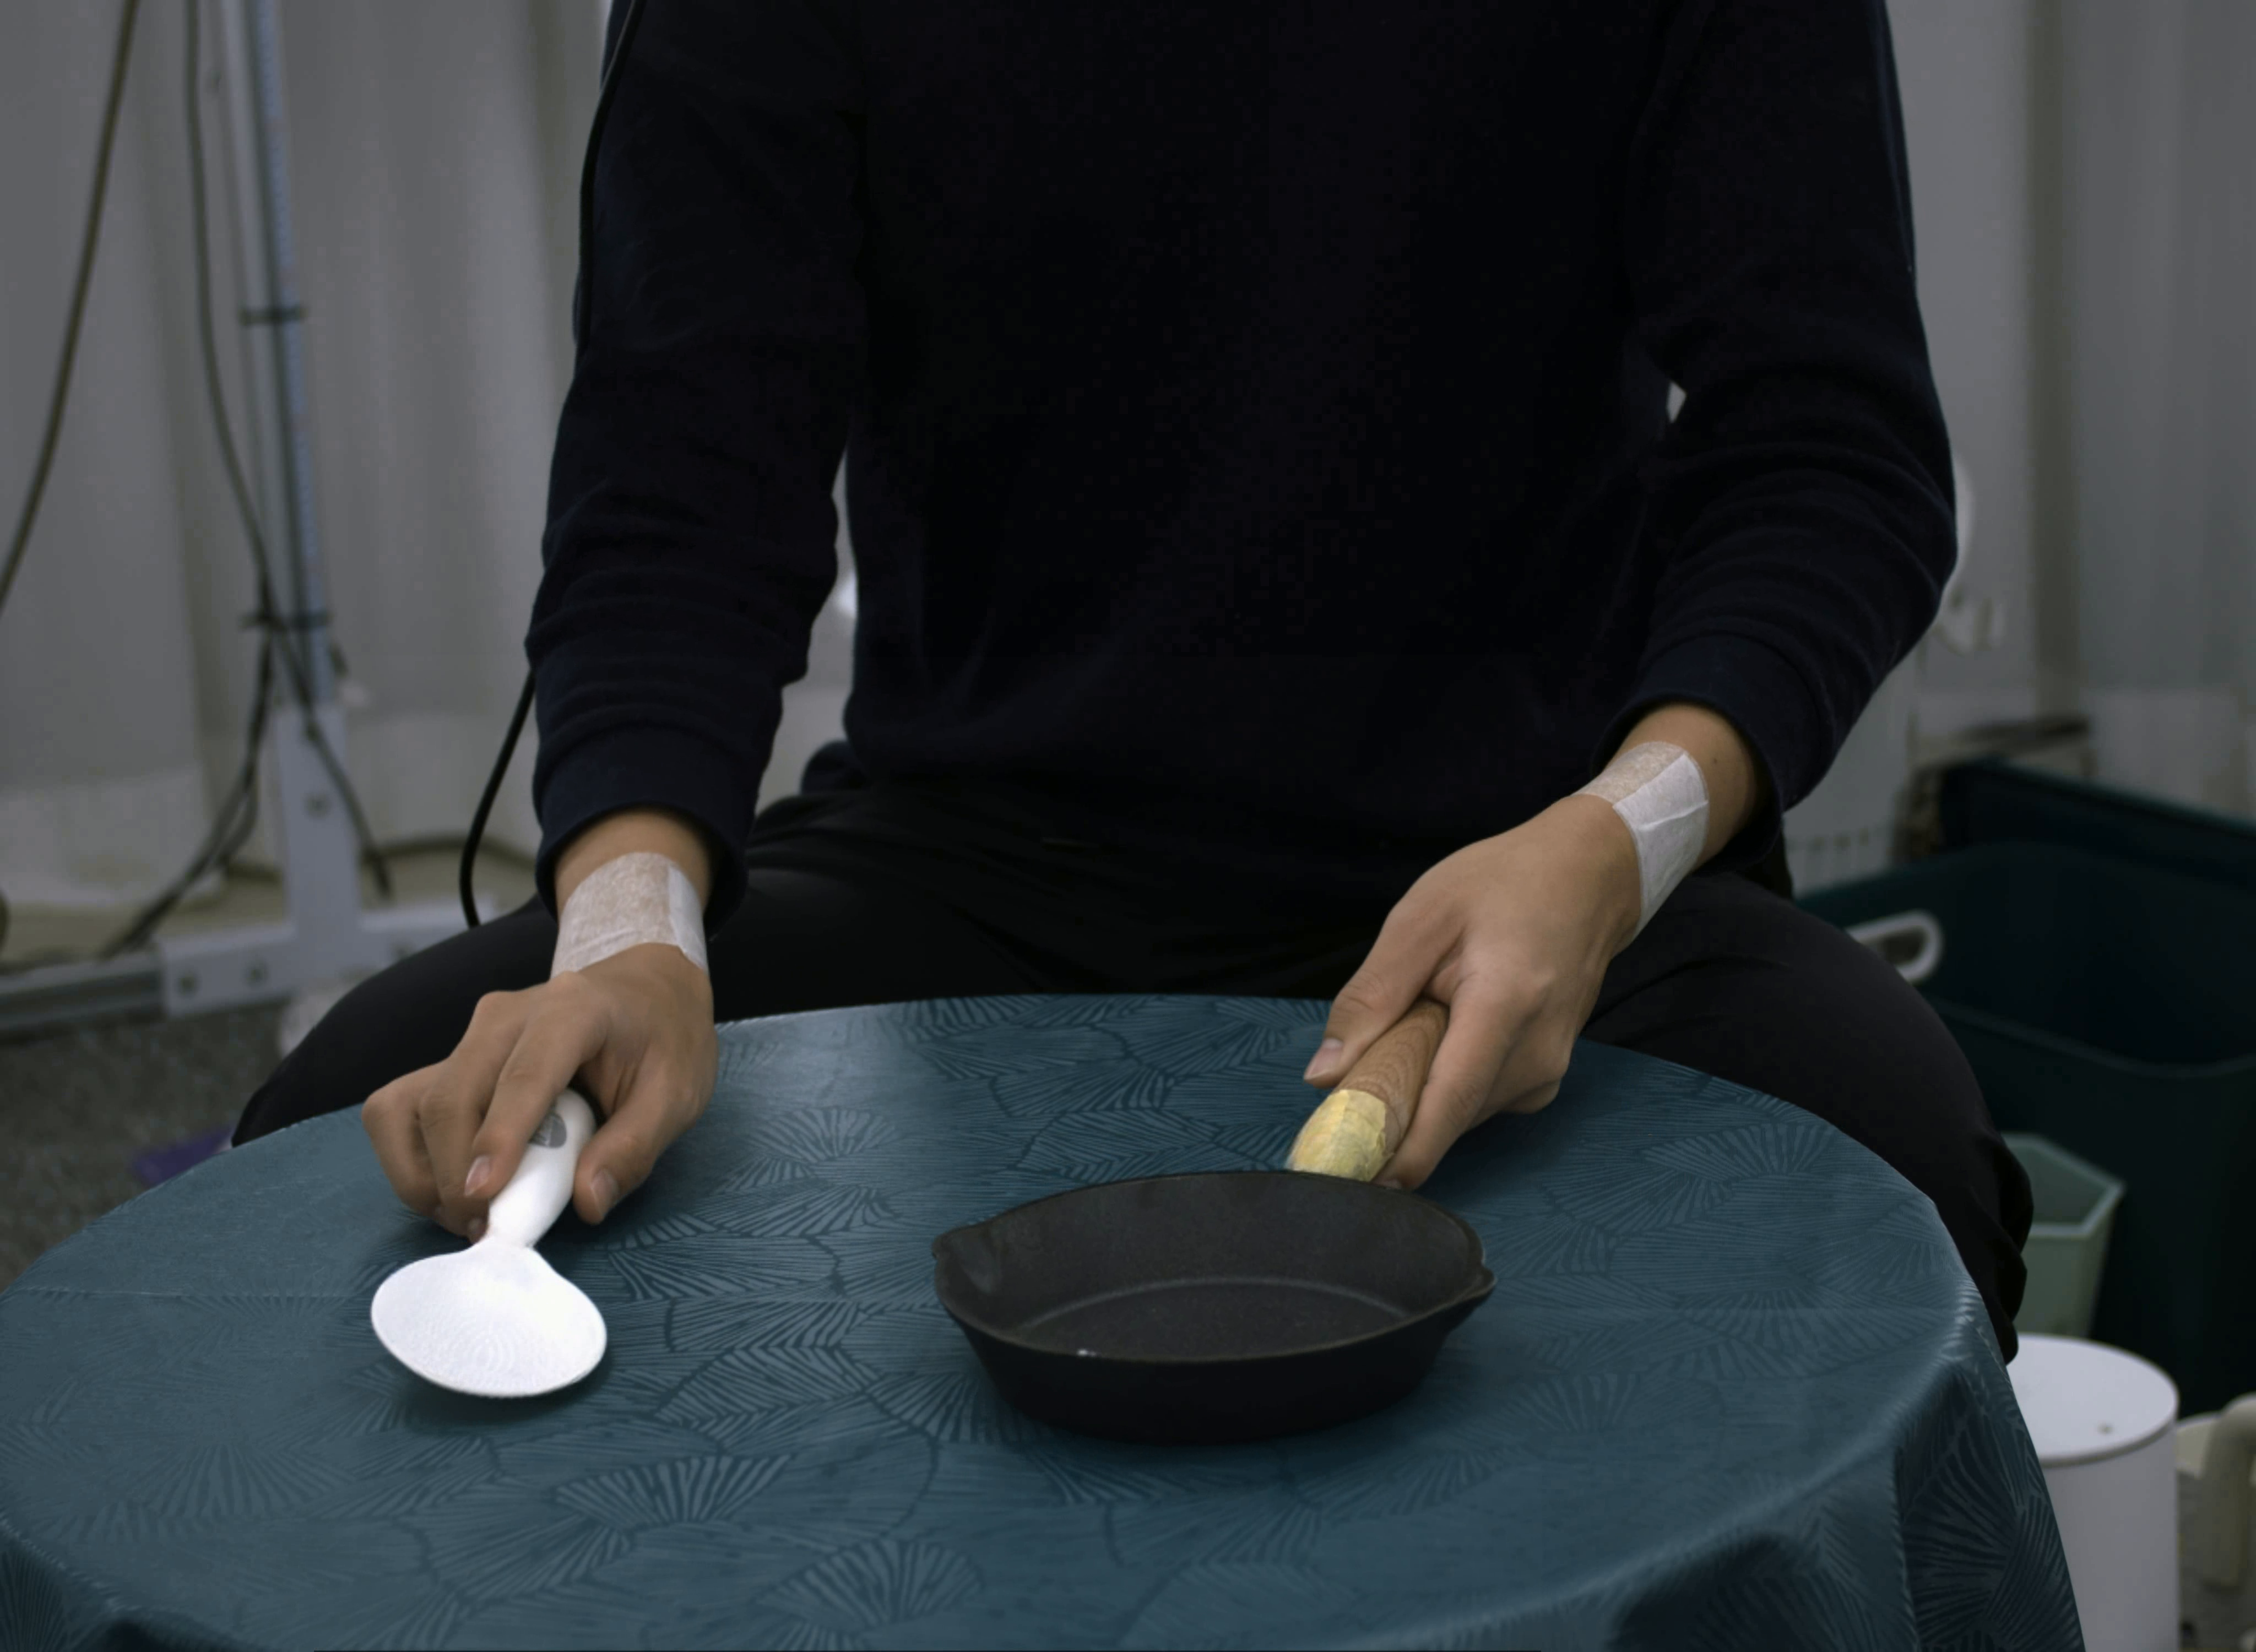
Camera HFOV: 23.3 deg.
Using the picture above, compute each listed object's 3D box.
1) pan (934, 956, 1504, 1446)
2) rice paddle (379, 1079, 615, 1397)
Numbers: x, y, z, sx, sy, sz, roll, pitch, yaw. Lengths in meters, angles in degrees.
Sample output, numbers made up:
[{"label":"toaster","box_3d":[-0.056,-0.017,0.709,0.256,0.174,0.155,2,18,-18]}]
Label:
[{"label":"pan","box_3d":[0.057,0.108,1.631,0.169,0.049,0.325,3,18,23]},{"label":"rice paddle","box_3d":[-0.183,0.125,1.640,0.068,0.029,0.207,10,18,-4]}]
